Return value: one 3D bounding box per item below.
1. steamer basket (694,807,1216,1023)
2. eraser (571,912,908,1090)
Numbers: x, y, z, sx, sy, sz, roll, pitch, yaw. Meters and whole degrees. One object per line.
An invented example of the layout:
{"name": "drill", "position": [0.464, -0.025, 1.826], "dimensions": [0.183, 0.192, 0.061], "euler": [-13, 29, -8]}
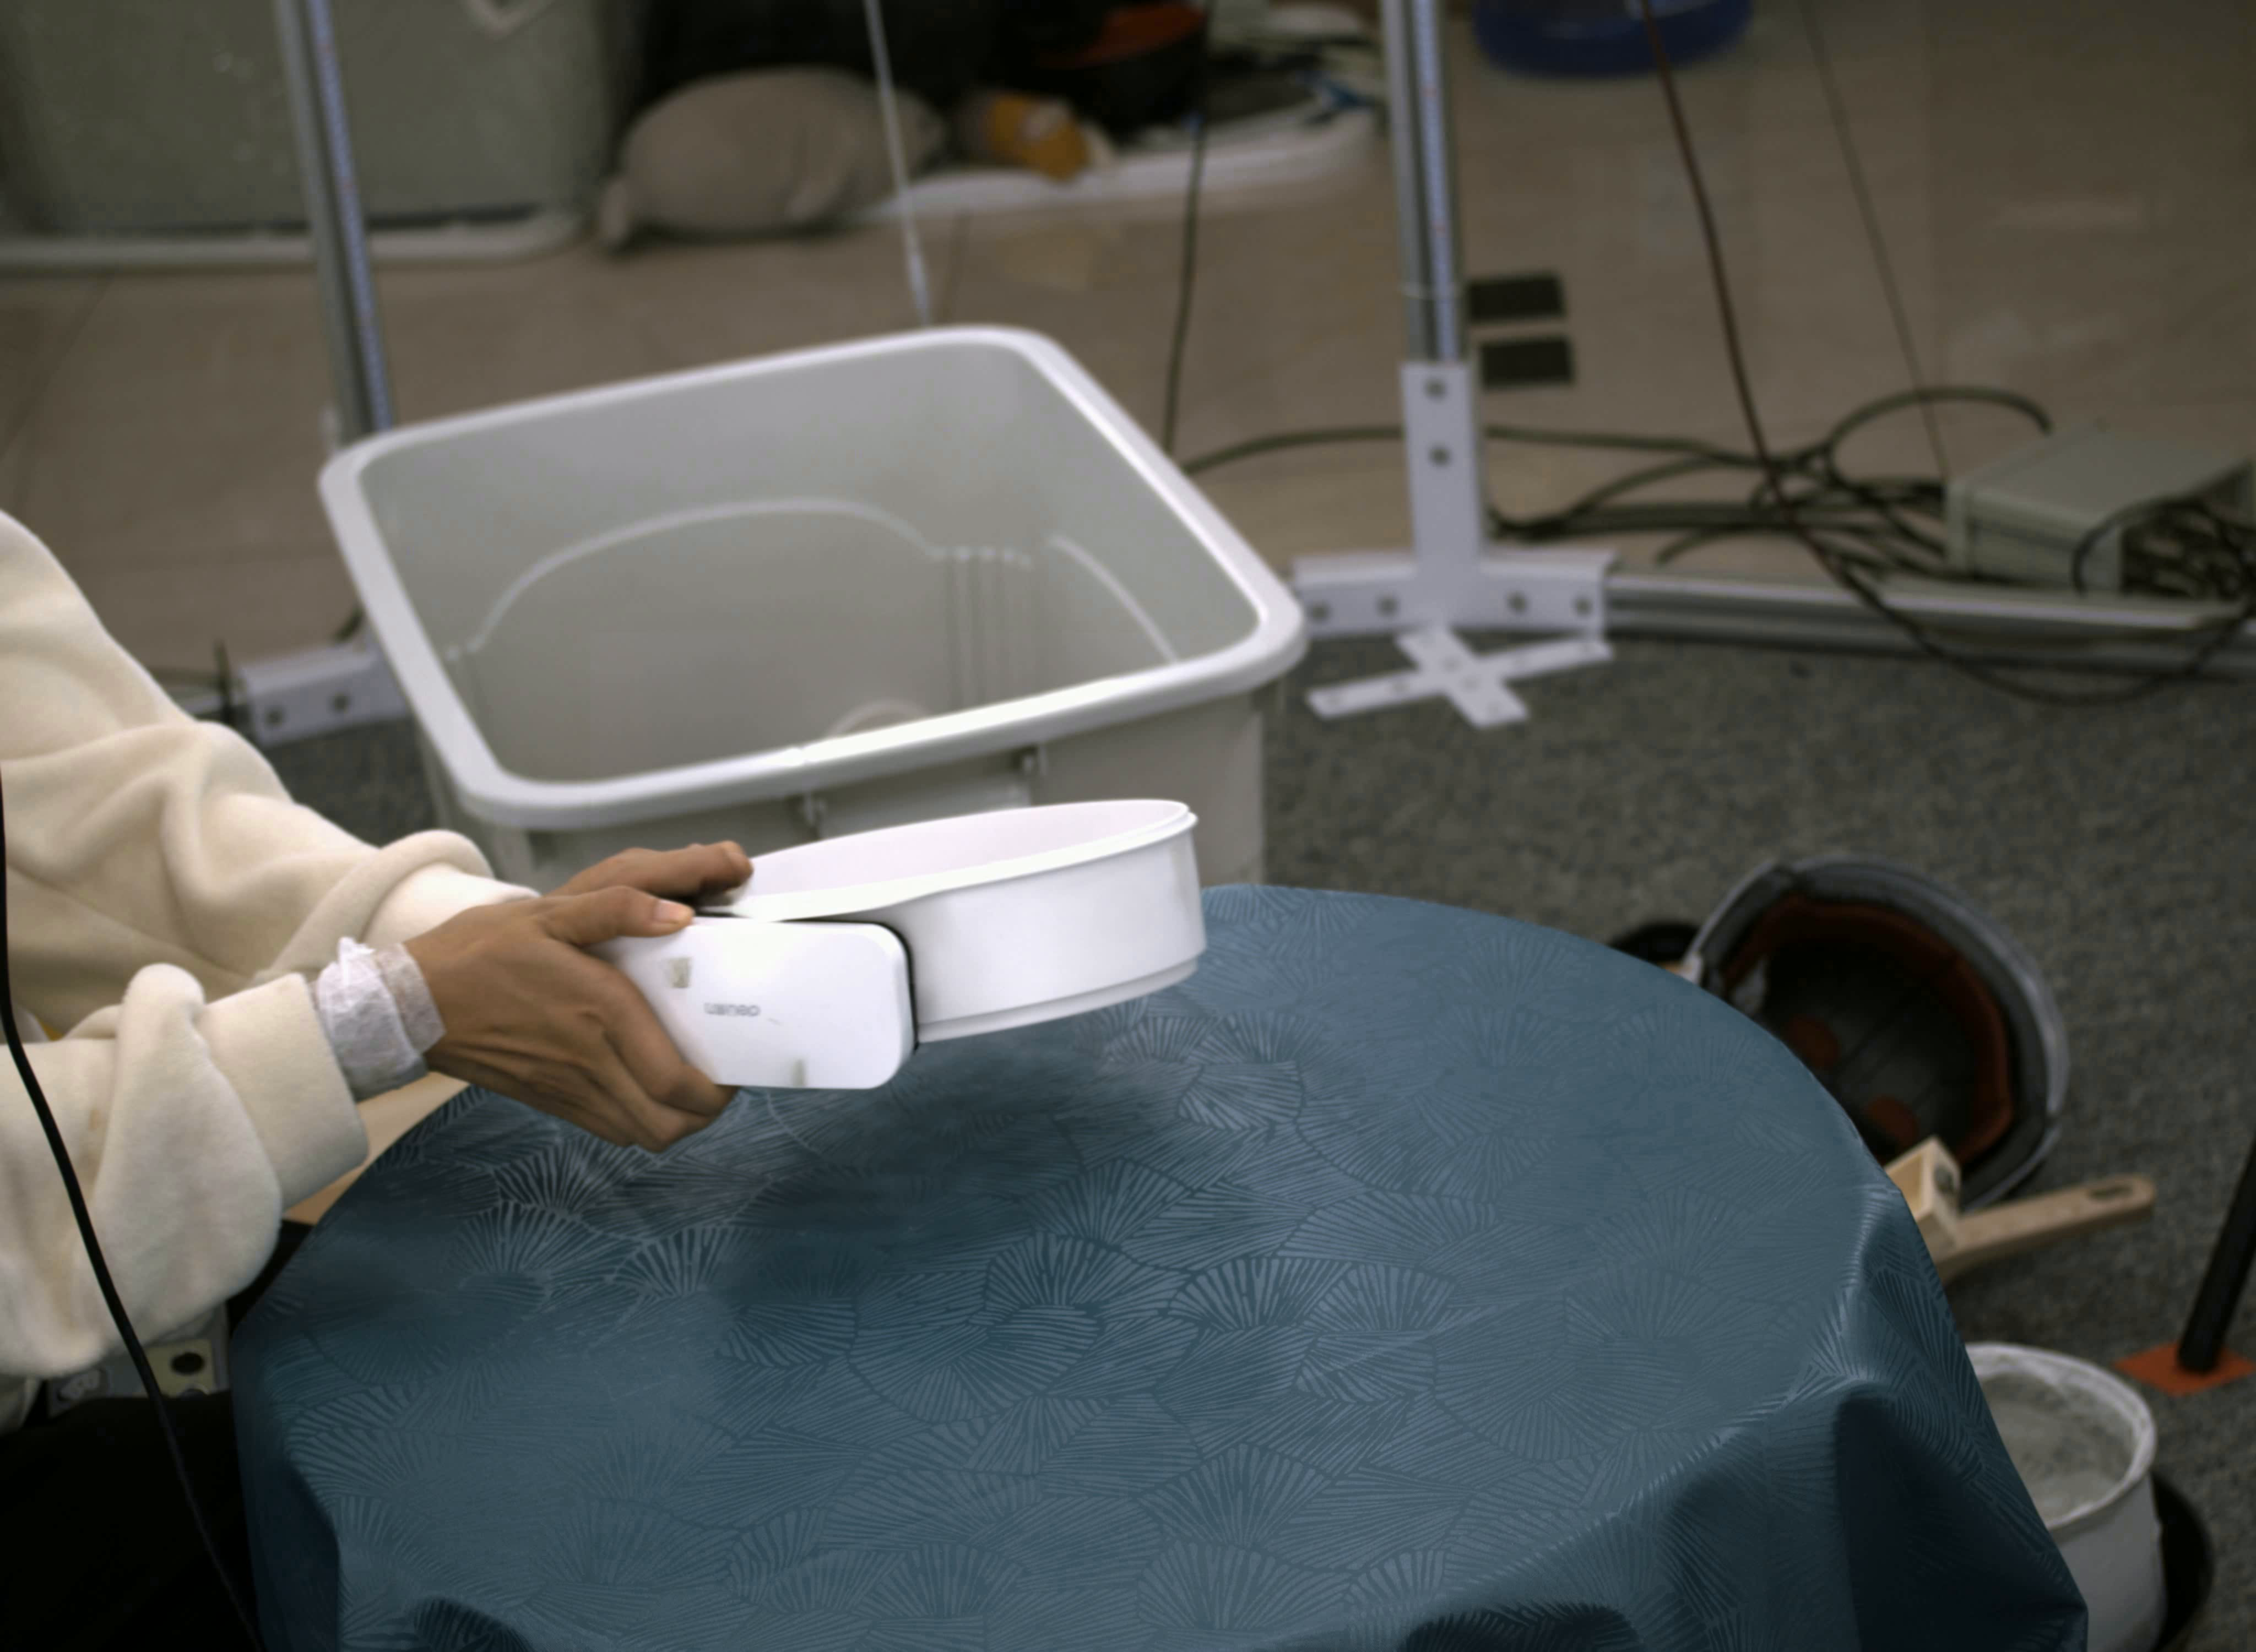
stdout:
{"name": "steamer basket", "position": [-0.065, 0.036, 2.196], "dimensions": [0.201, 0.069, 0.230], "euler": [-5, 2, 21]}
{"name": "eraser", "position": [-0.145, 0.063, 2.106], "dimensions": [0.131, 0.064, 0.034], "euler": [3, 16, 22]}
